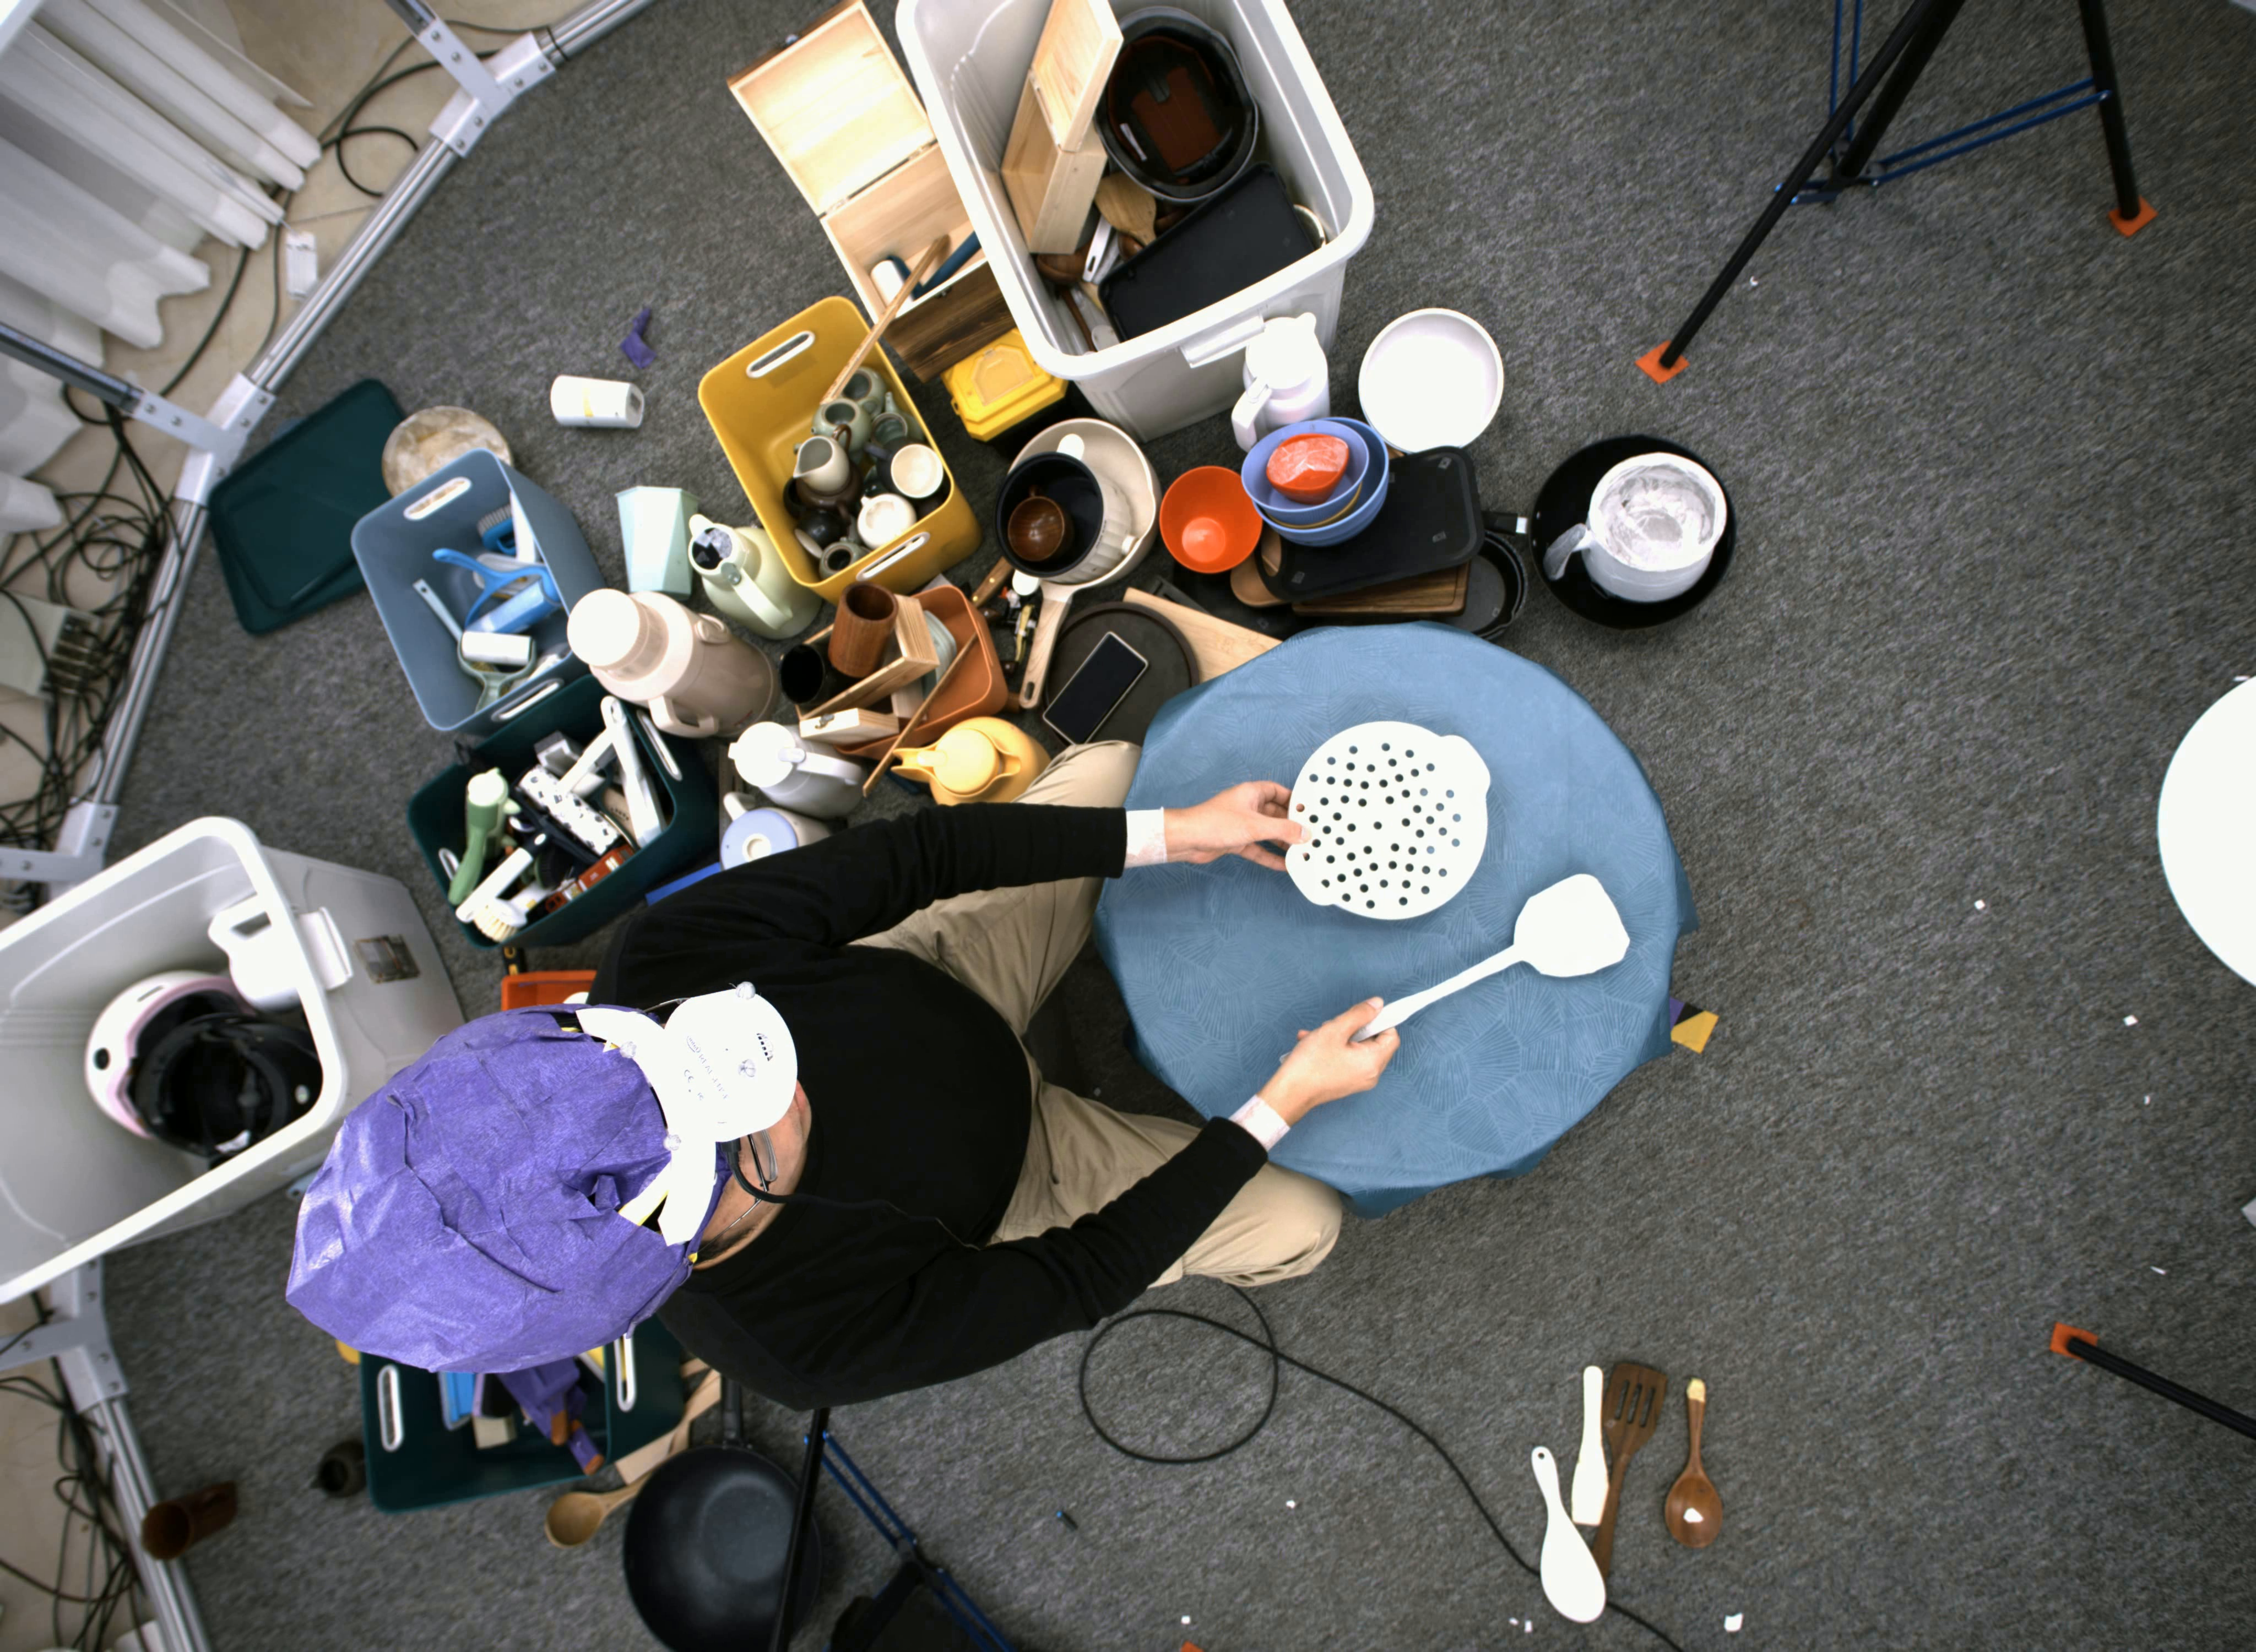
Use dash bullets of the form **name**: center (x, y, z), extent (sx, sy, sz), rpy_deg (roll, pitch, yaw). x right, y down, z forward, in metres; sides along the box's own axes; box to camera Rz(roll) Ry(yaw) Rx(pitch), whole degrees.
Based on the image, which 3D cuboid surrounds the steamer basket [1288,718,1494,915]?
- **steamer basket**: center (0.267, -0.008, 1.419), extent (0.230, 0.069, 0.201), rpy_deg (-35, 86, -1)

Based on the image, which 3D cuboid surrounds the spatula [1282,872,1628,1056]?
- **spatula**: center (0.327, 0.155, 1.386), extent (0.364, 0.045, 0.098), rpy_deg (-24, 89, -3)
